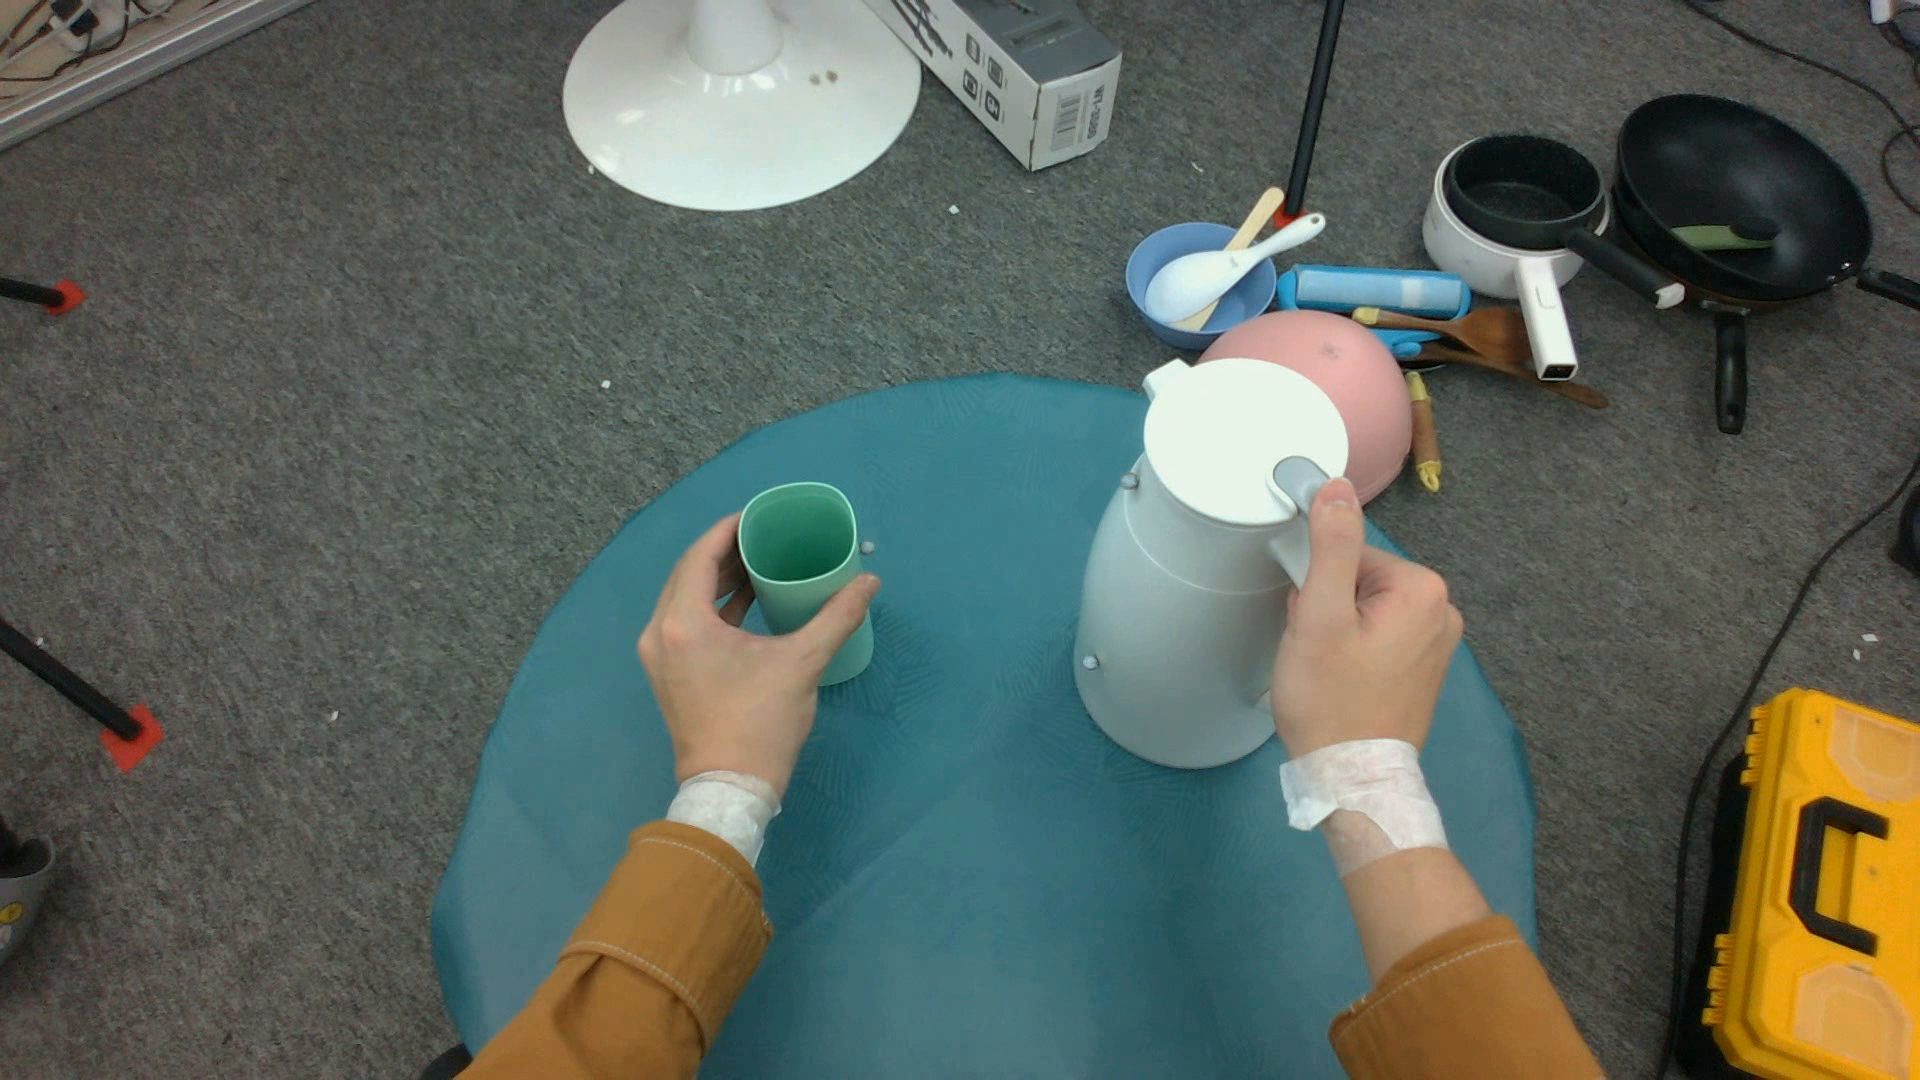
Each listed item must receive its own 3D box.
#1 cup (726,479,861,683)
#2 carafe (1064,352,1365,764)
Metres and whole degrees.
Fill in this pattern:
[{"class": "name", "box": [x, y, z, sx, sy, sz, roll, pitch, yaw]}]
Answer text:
[{"class": "cup", "box": [-0.092, 0.028, 0.785, 0.067, 0.132, 0.067, 0, 59, 1]}, {"class": "carafe", "box": [0.137, 0.023, 0.714, 0.133, 0.247, 0.168, -30, 64, -17]}]
